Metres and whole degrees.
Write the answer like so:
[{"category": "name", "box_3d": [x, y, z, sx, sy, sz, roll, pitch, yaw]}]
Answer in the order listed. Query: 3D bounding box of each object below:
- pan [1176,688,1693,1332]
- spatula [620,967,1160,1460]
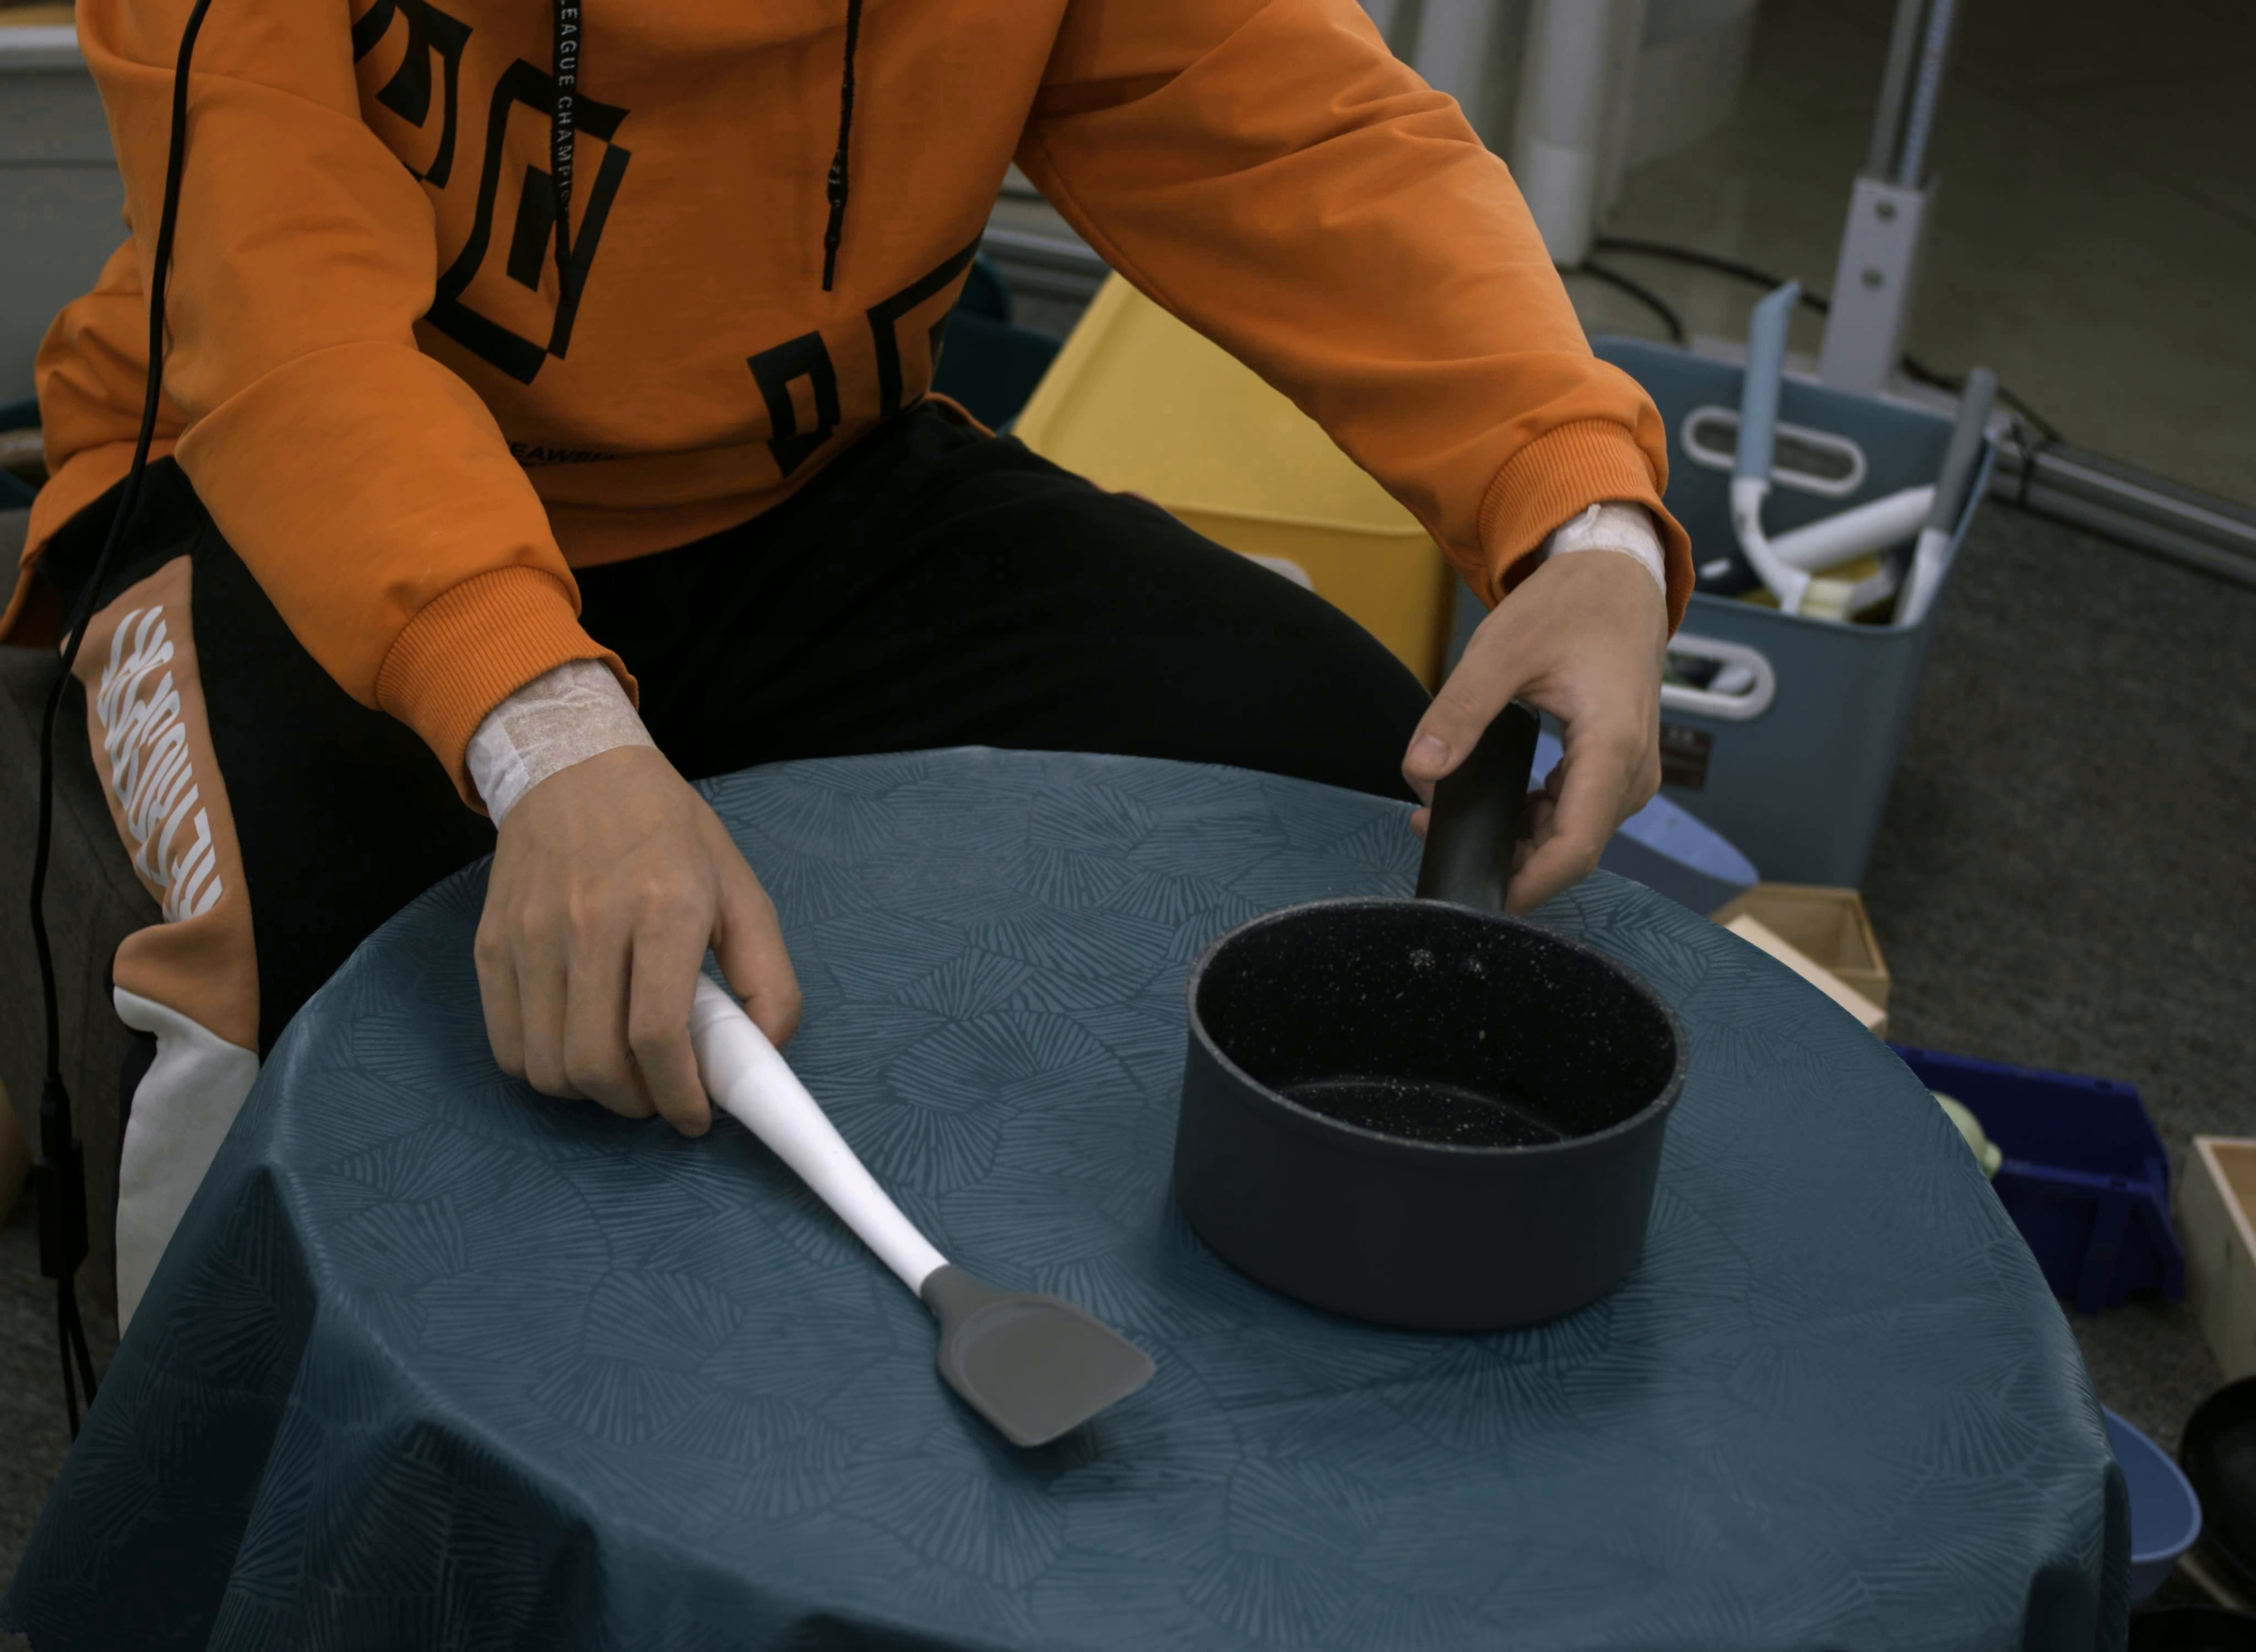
[{"category": "pan", "box_3d": [0.114, 0.059, 1.861, 0.172, 0.086, 0.330, 11, 29, 7]}, {"category": "spatula", "box_3d": [-0.084, 0.126, 1.744, 0.058, 0.032, 0.290, -28, 40, -21]}]
